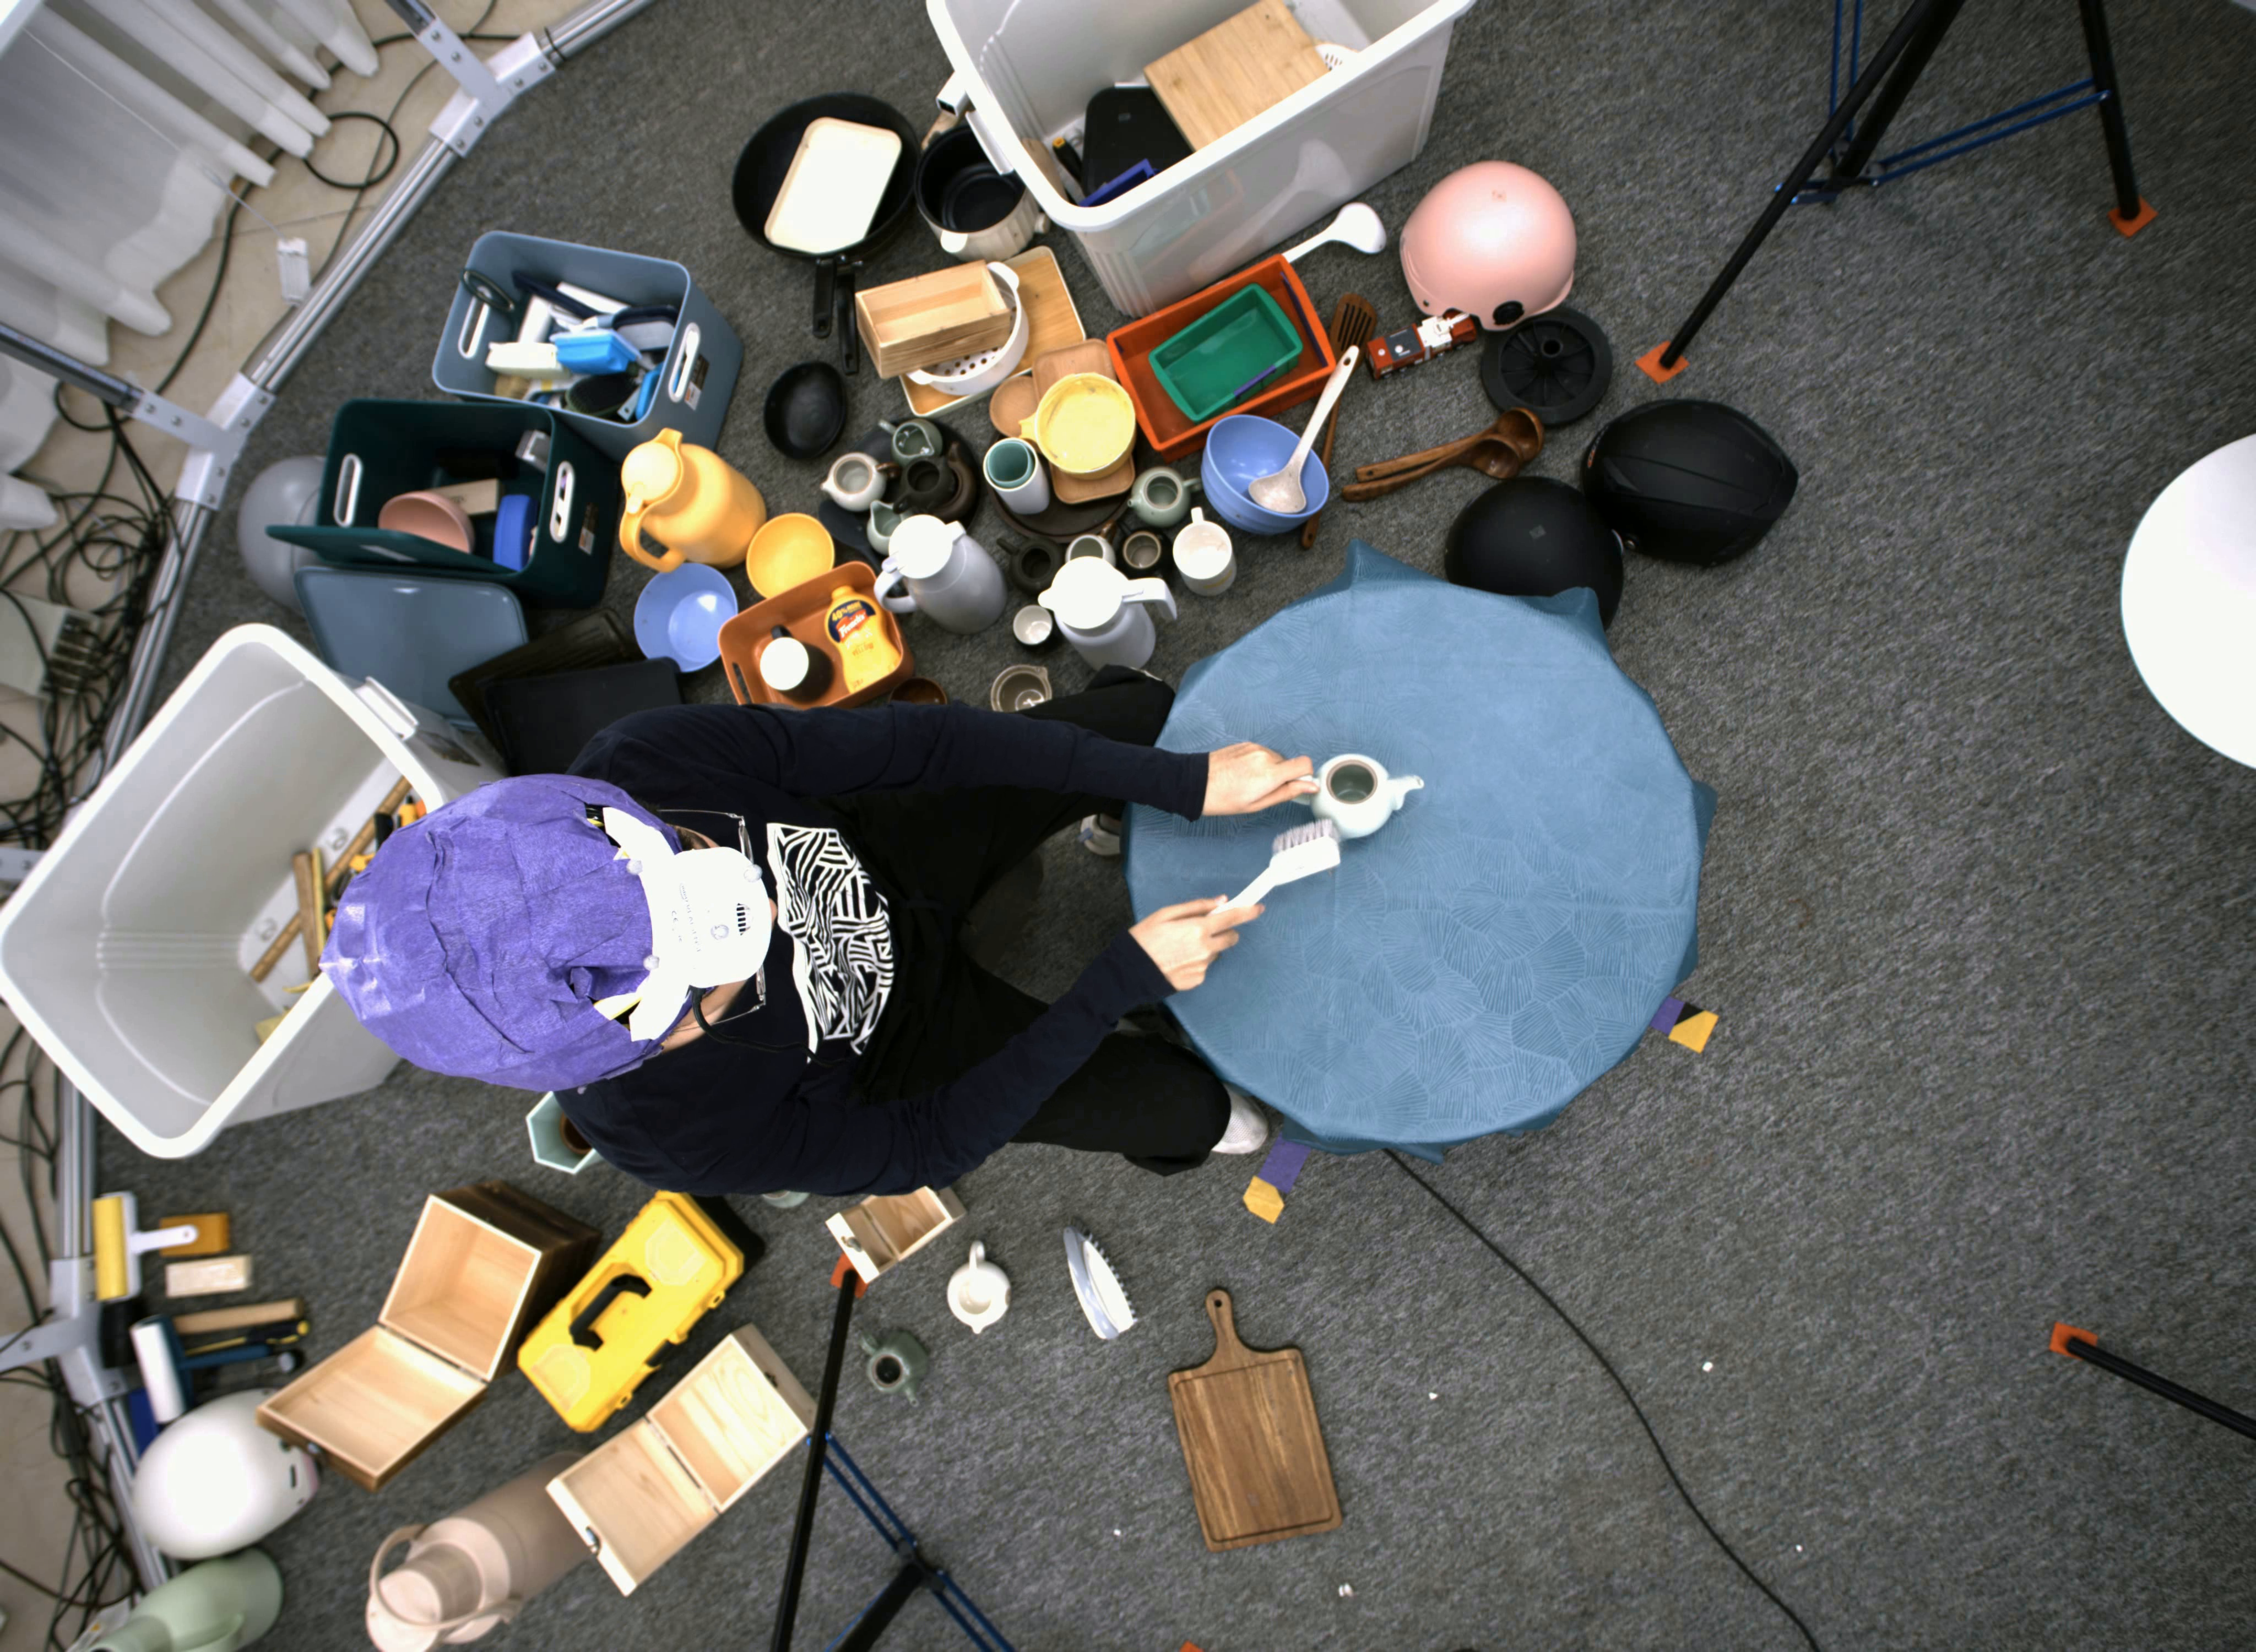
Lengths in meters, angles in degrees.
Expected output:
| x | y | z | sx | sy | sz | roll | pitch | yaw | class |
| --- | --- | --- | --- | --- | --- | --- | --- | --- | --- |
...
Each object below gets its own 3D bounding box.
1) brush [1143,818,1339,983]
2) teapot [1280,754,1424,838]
| x | y | z | sx | sy | sz | roll | pitch | yaw | class |
| --- | --- | --- | --- | --- | --- | --- | --- | --- | --- |
| 0.109 | 0.072 | 1.397 | 0.245 | 0.035 | 0.049 | -36 | 48 | 9 | brush |
| 0.229 | -0.032 | 1.417 | 0.144 | 0.076 | 0.086 | 4 | 66 | 9 | teapot |
